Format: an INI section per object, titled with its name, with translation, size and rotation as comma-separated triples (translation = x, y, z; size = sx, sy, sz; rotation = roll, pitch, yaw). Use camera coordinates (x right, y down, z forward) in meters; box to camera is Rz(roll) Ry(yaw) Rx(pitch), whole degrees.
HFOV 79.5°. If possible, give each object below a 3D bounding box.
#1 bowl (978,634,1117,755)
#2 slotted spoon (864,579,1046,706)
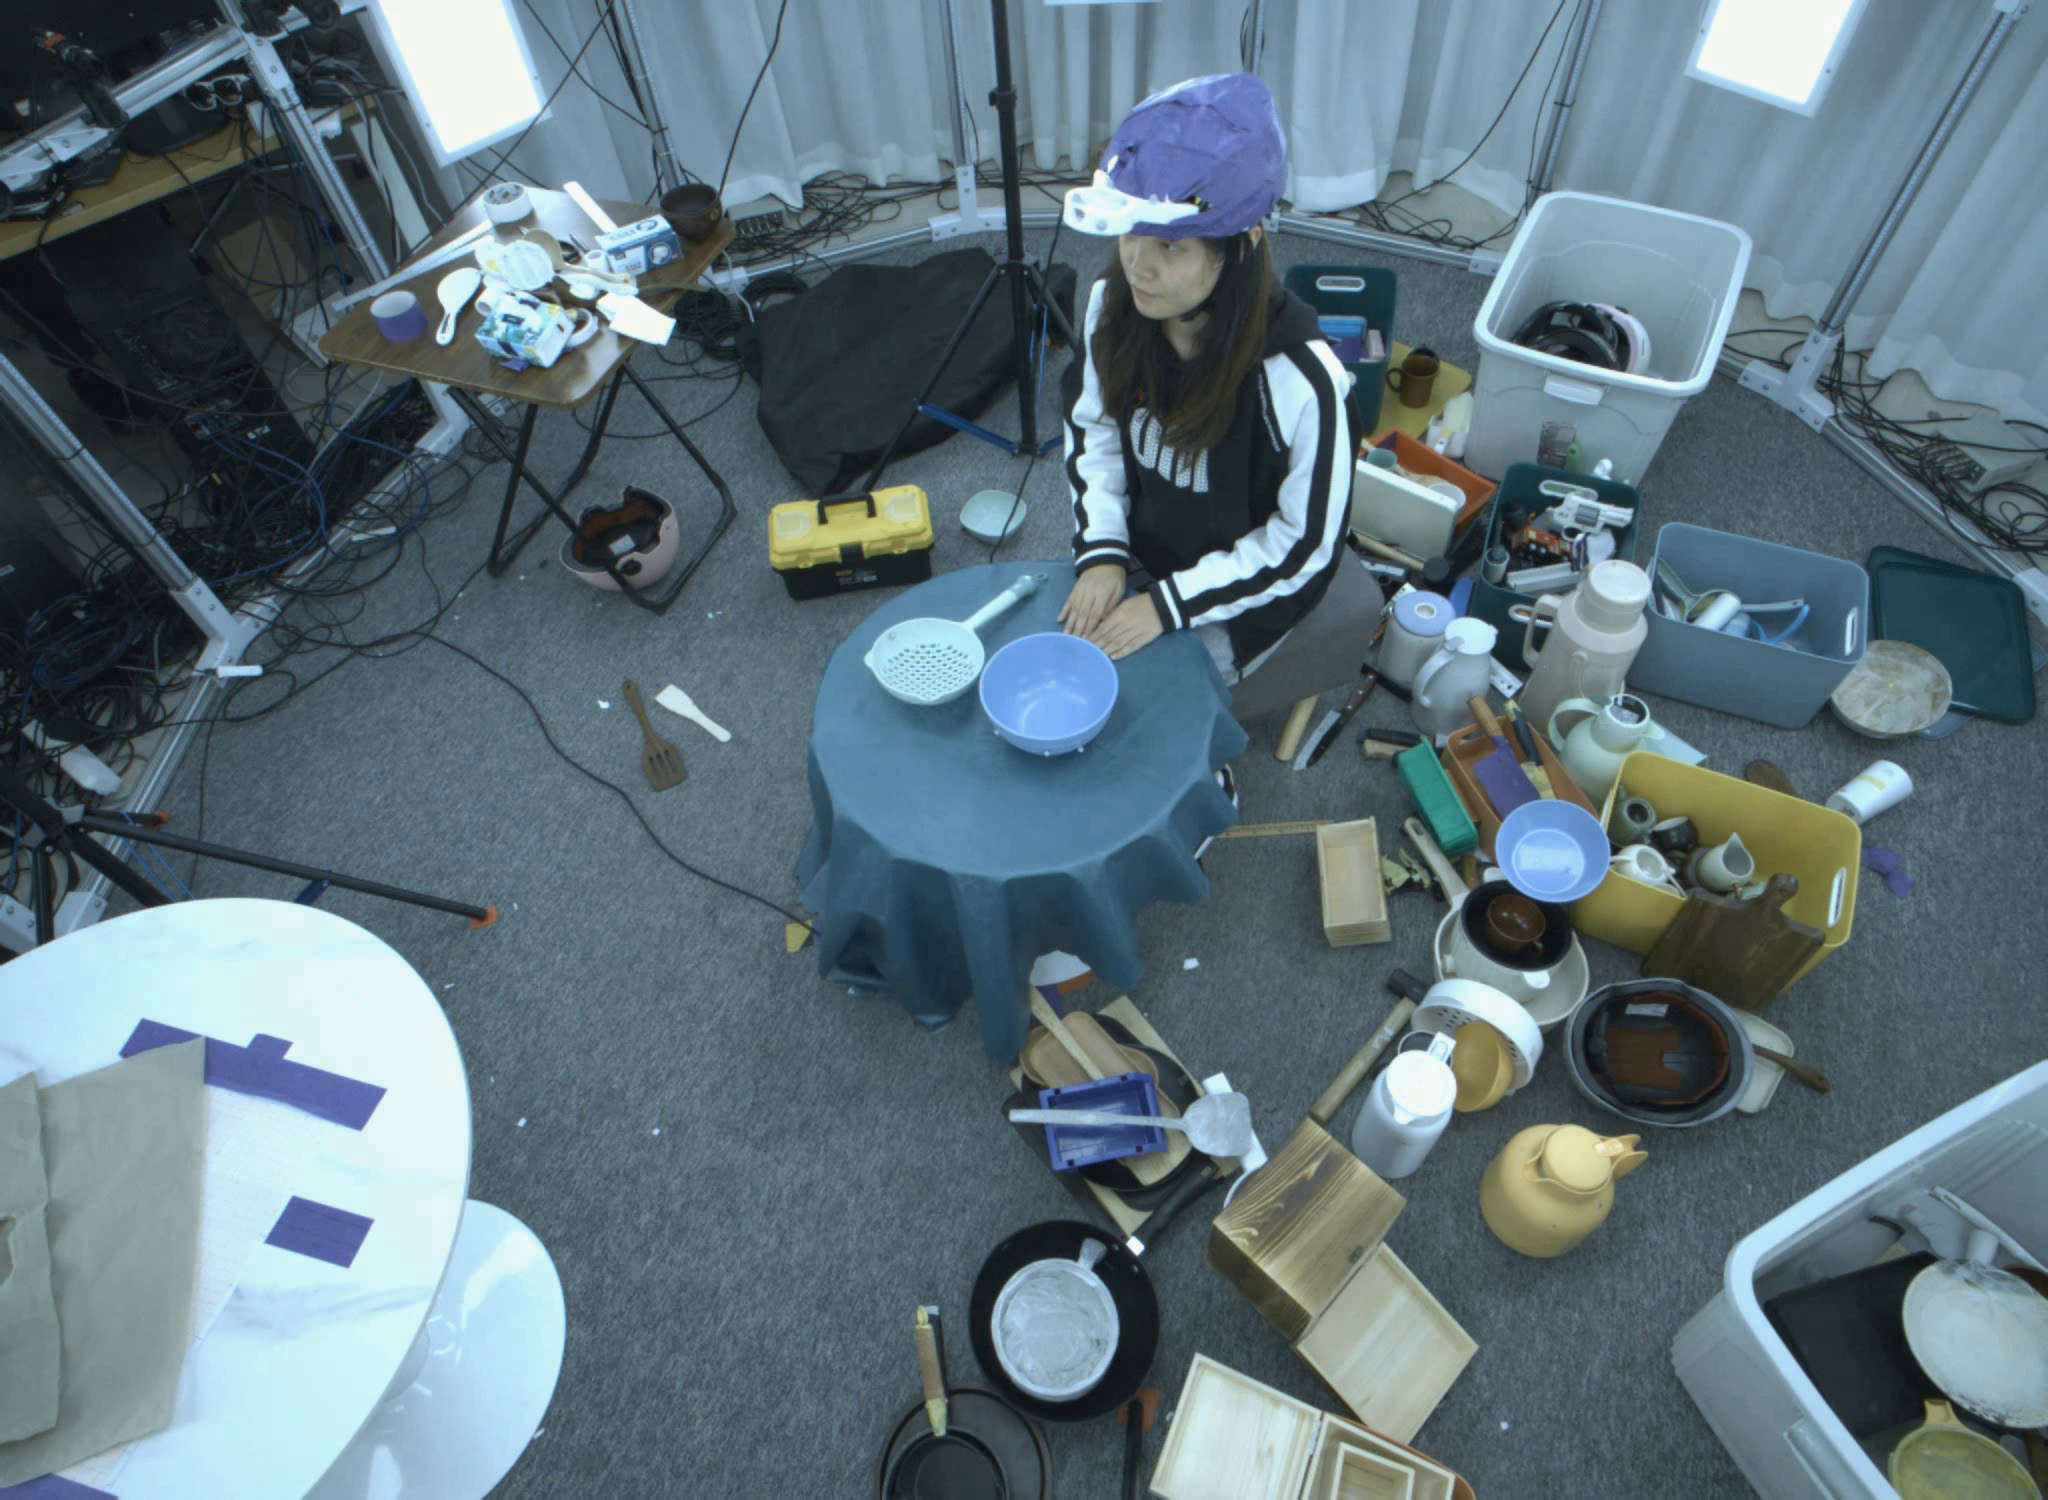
[bowl]
translation = 0.036, -0.065, 1.775
size = 0.196, 0.096, 0.194
rotation = -1, 54, 2
[slotted spoon]
translation = -0.083, -0.183, 1.885
size = 0.167, 0.076, 0.361
rotation = 33, 60, 21
